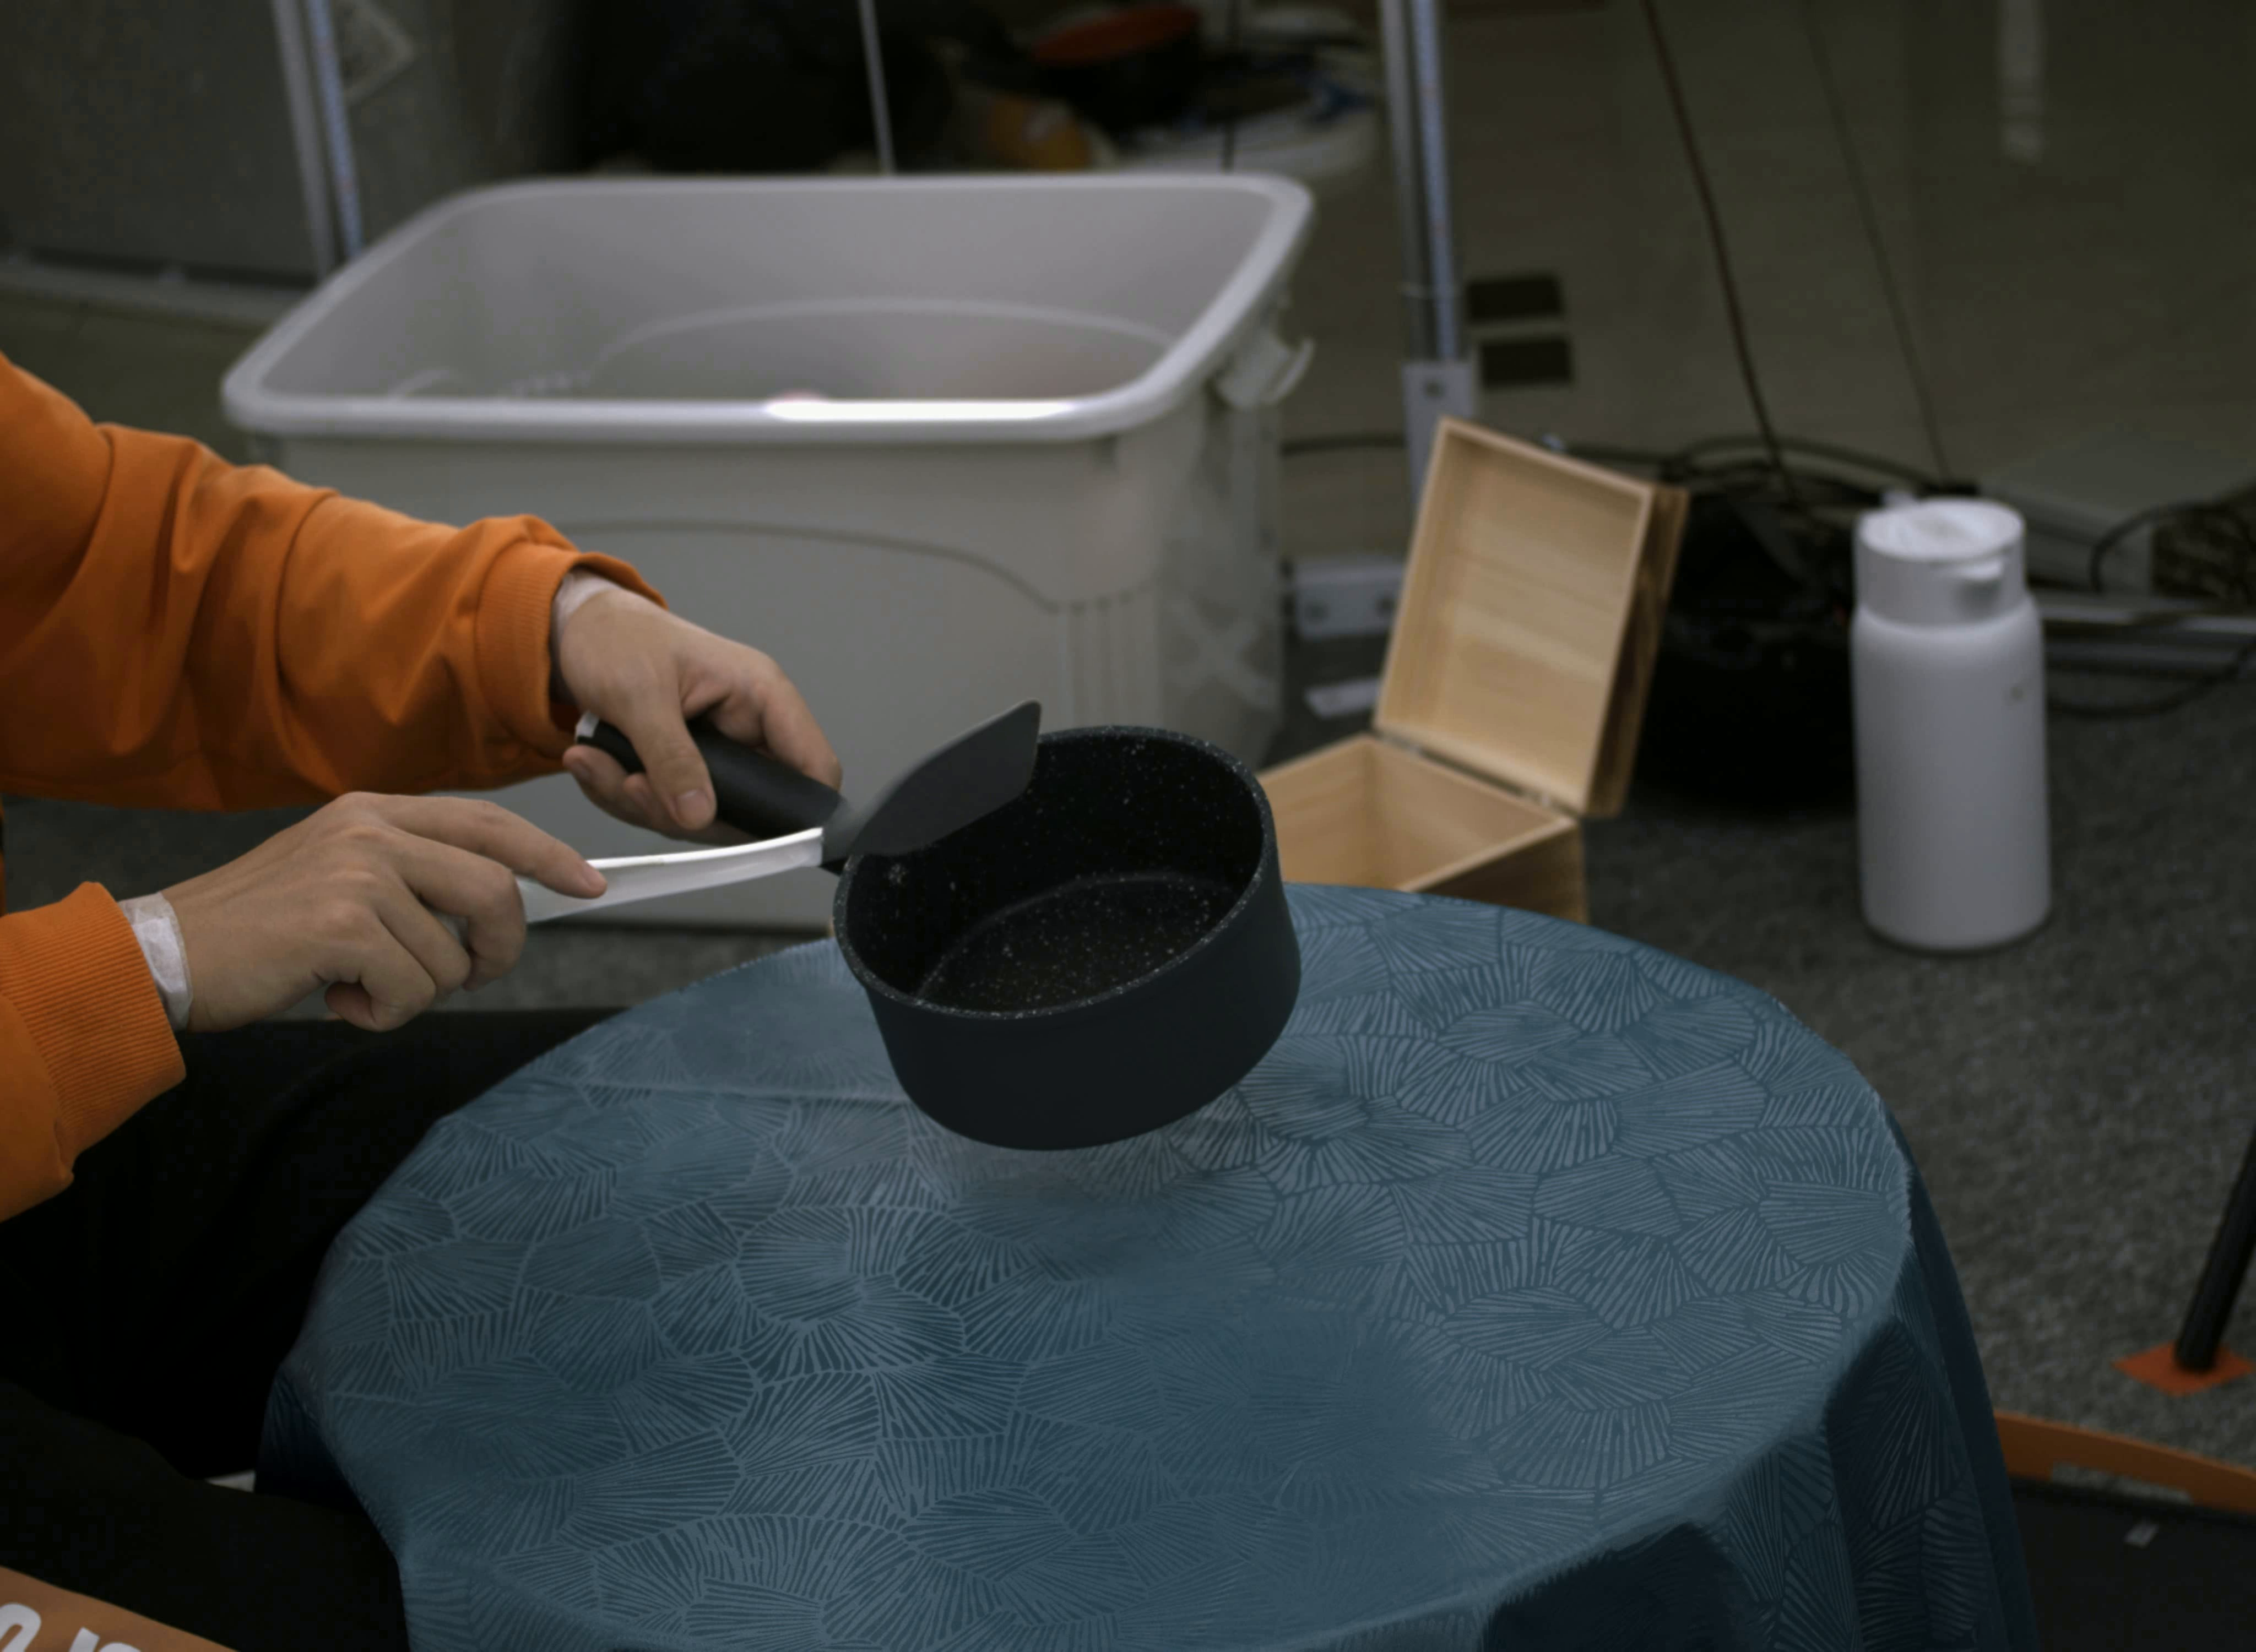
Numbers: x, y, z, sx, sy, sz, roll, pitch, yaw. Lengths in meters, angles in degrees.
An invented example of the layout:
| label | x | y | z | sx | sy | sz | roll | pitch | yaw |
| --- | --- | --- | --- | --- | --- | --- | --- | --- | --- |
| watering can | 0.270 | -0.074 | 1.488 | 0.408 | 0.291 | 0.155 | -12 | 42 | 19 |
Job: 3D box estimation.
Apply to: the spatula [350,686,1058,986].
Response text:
| label | x | y | z | sx | sy | sz | roll | pitch | yaw |
| --- | --- | --- | --- | --- | --- | --- | --- | --- | --- |
| spatula | -0.149 | 0.007 | 2.096 | 0.286 | 0.060 | 0.032 | -16 | 47 | -25 |

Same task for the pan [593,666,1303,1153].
| label | x | y | z | sx | sy | sz | roll | pitch | yaw |
| --- | --- | --- | --- | --- | --- | --- | --- | --- | --- |
| pan | -0.080 | 0.021 | 2.201 | 0.326 | 0.088 | 0.170 | 21 | 51 | 37 |
